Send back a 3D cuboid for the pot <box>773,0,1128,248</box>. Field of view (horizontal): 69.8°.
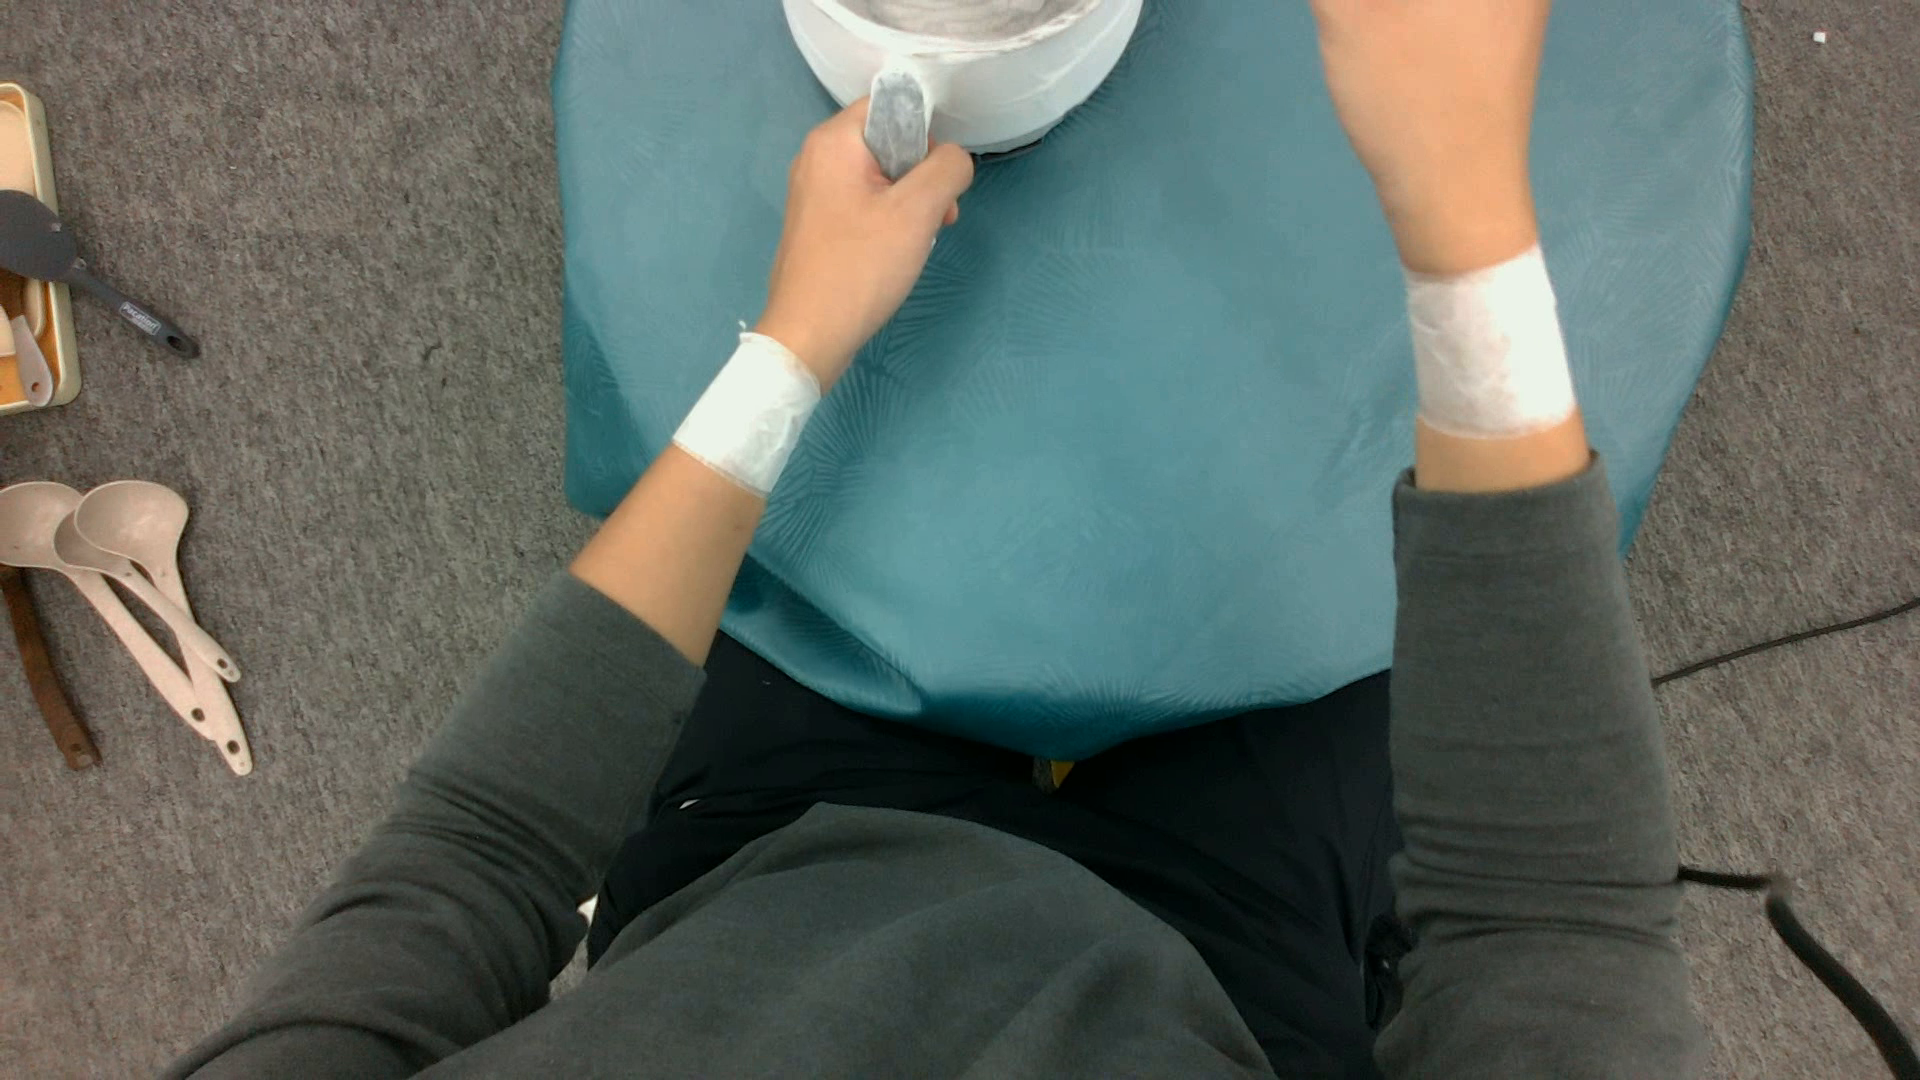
[{"bbox_3d":[-0.011,-0.256,0.629,0.179,0.136,0.234,13,86,2],"label":"pot"}]
